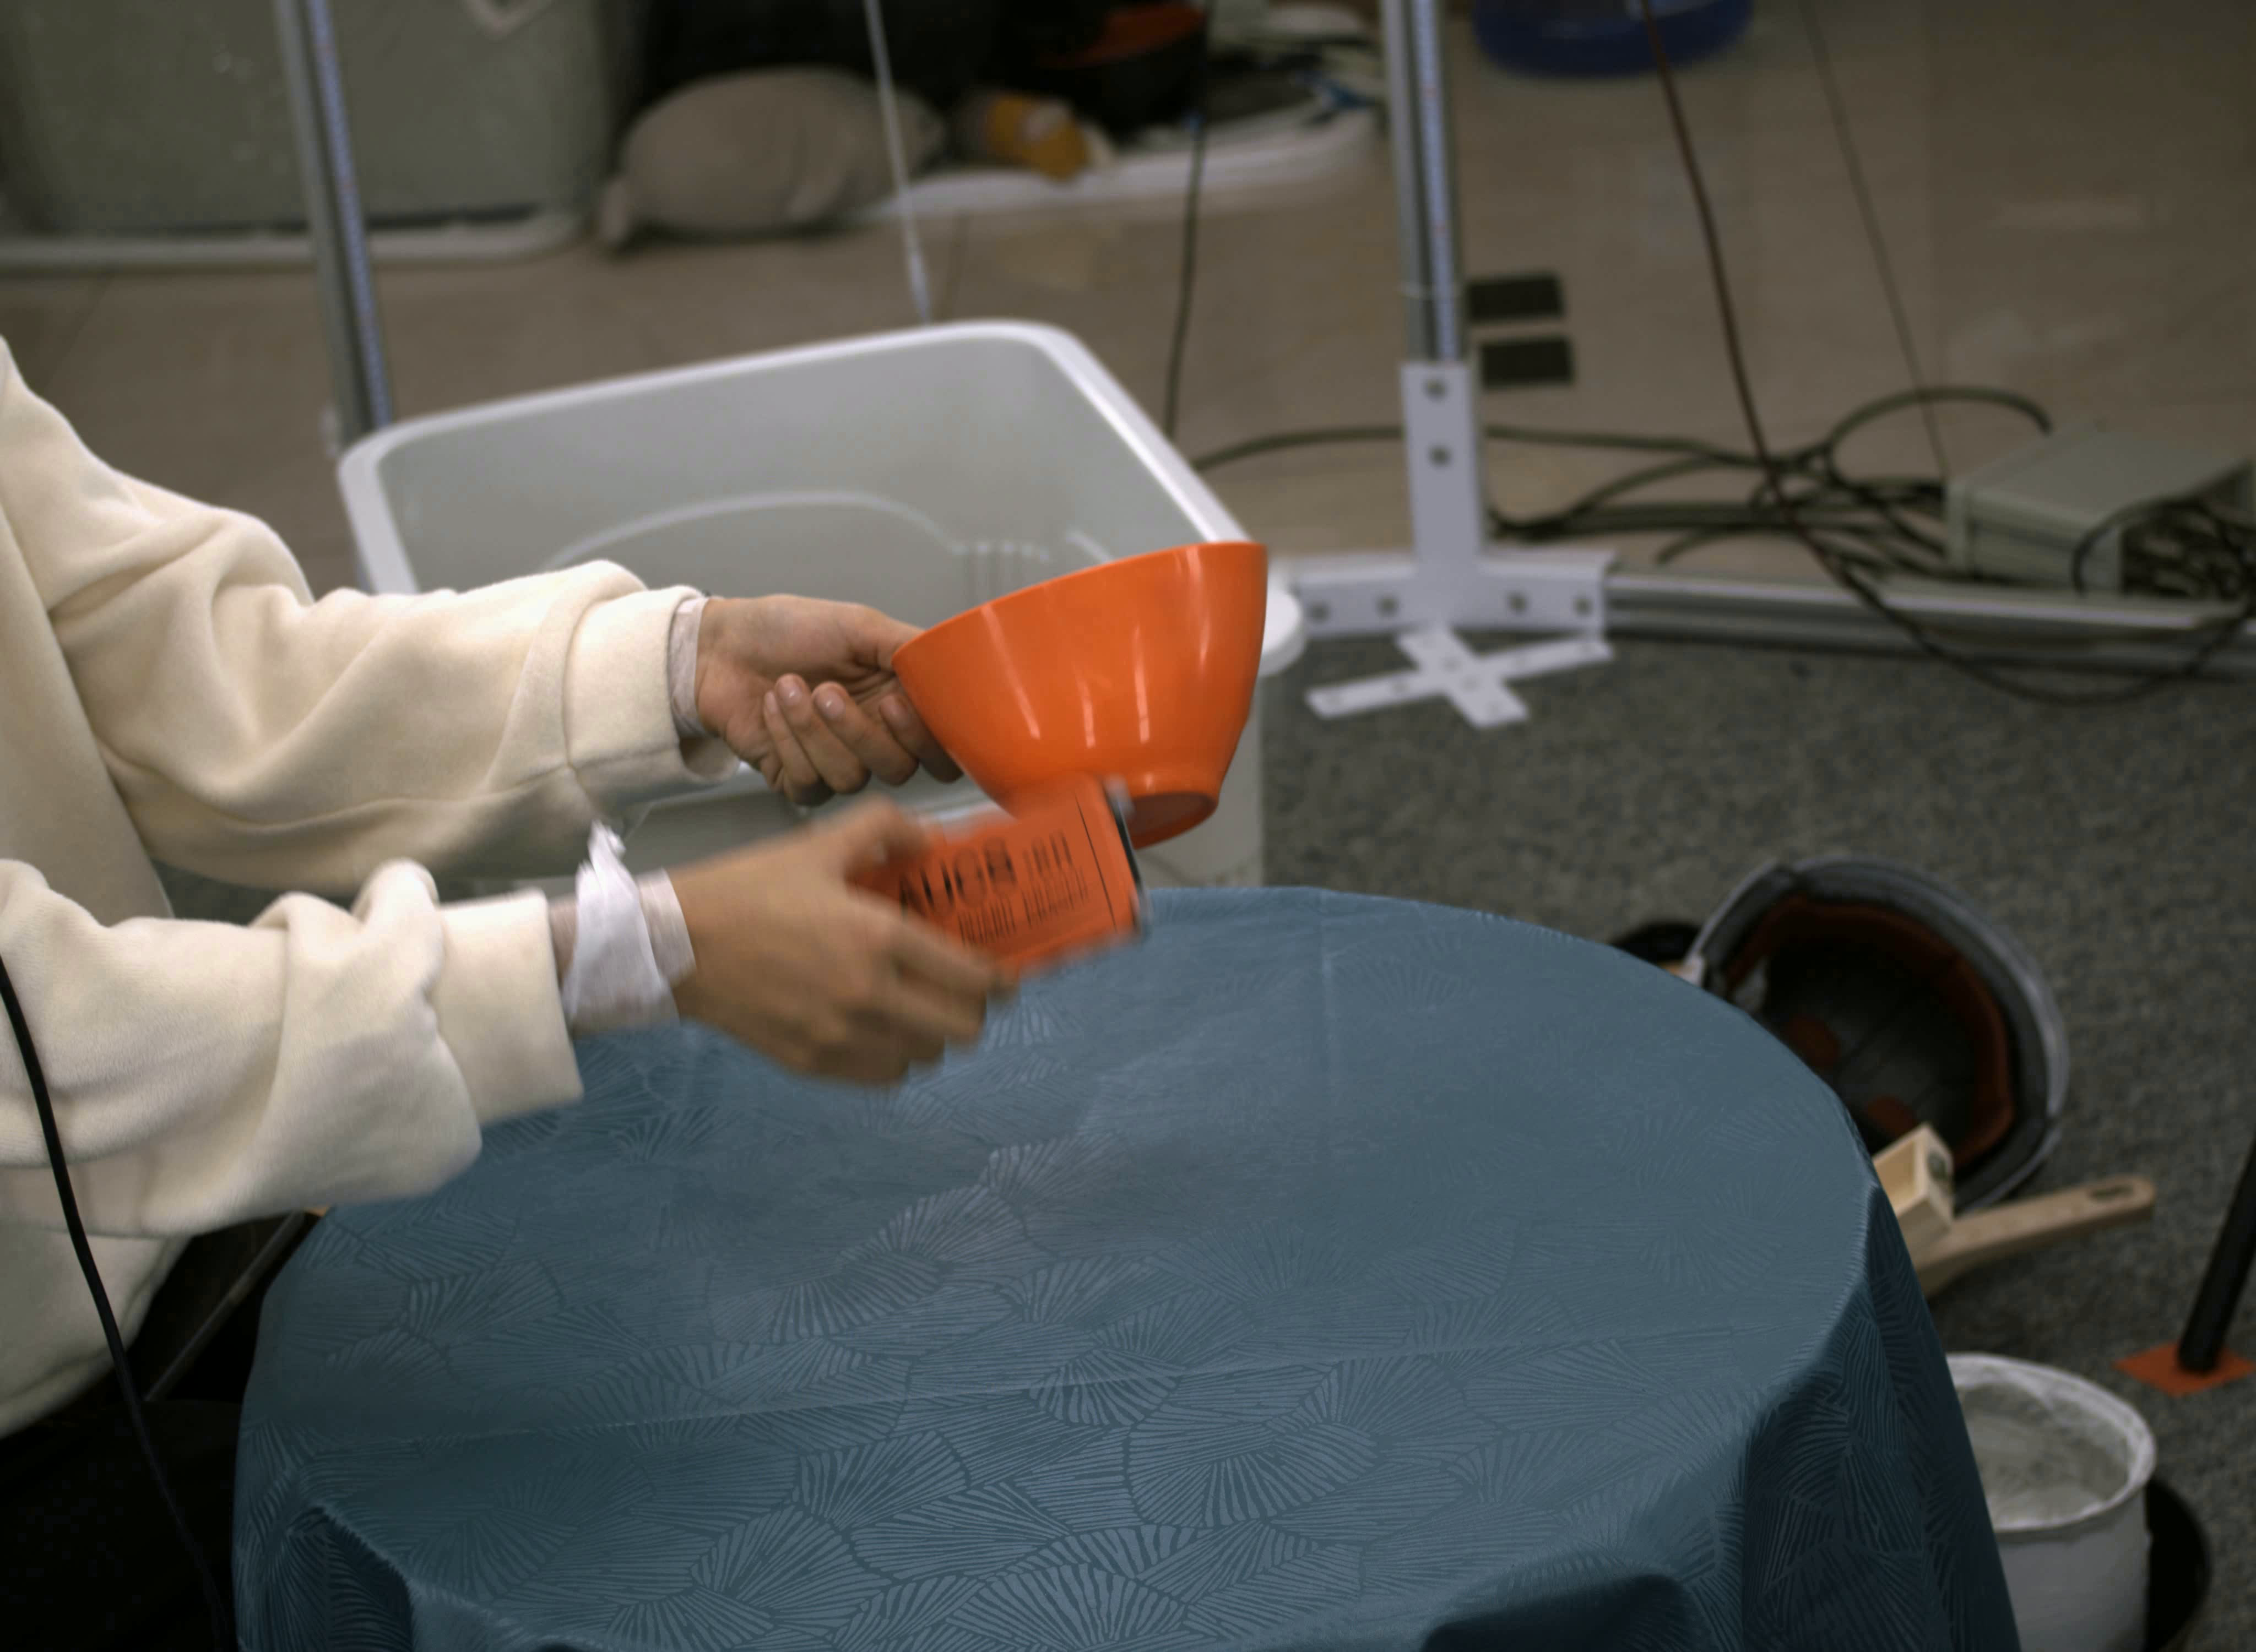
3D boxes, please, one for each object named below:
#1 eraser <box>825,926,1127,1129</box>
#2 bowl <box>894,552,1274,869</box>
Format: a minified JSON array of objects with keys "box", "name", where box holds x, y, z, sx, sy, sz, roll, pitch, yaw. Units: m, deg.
[{"box":[-0.055,0.072,2.025,0.108,0.059,0.023,-13,-7,26],"name":"eraser"},{"box":[-0.008,-0.041,2.112,0.148,0.104,0.149,-12,-15,-3],"name":"bowl"}]
